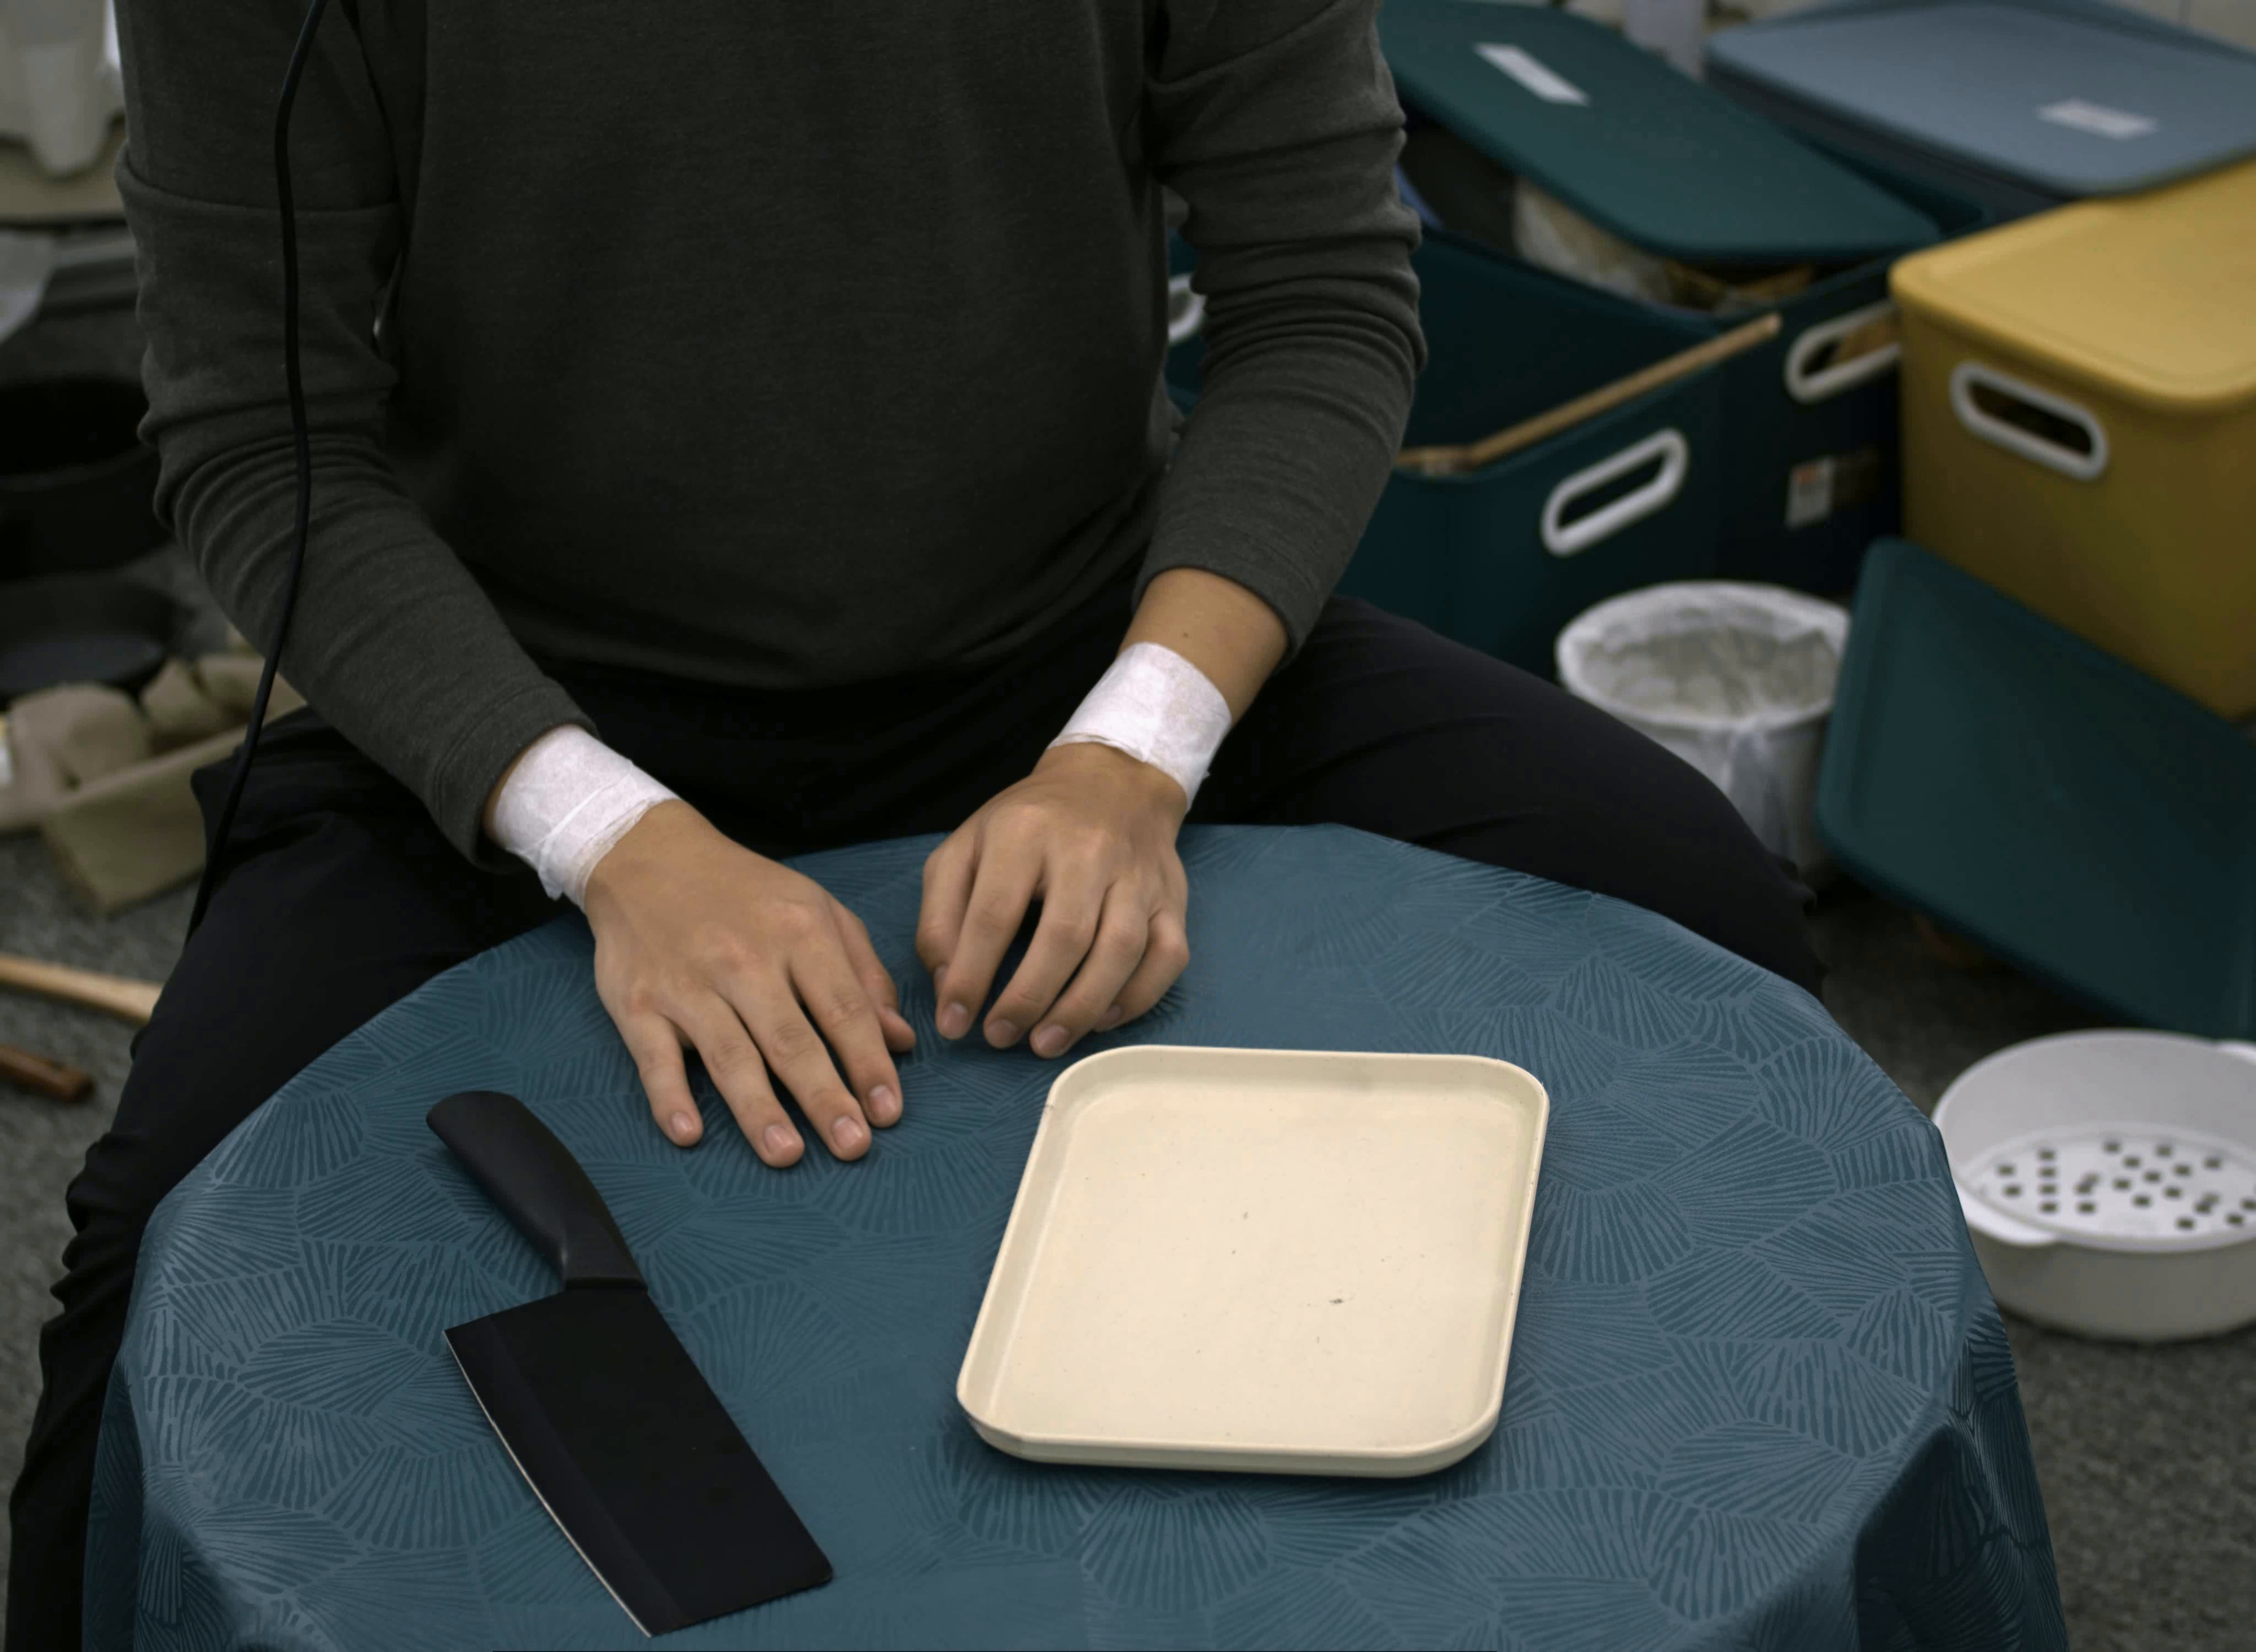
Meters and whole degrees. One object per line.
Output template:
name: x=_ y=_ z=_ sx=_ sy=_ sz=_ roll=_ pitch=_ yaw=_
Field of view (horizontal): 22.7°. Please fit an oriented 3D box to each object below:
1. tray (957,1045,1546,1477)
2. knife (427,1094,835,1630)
tray: x=0.043 y=0.139 z=1.805 sx=0.170 sy=0.017 sz=0.243 roll=2 pitch=27 yaw=8
knife: x=-0.173 y=0.165 z=1.778 sx=0.081 sy=0.020 sz=0.305 roll=-13 pitch=31 yaw=-16
